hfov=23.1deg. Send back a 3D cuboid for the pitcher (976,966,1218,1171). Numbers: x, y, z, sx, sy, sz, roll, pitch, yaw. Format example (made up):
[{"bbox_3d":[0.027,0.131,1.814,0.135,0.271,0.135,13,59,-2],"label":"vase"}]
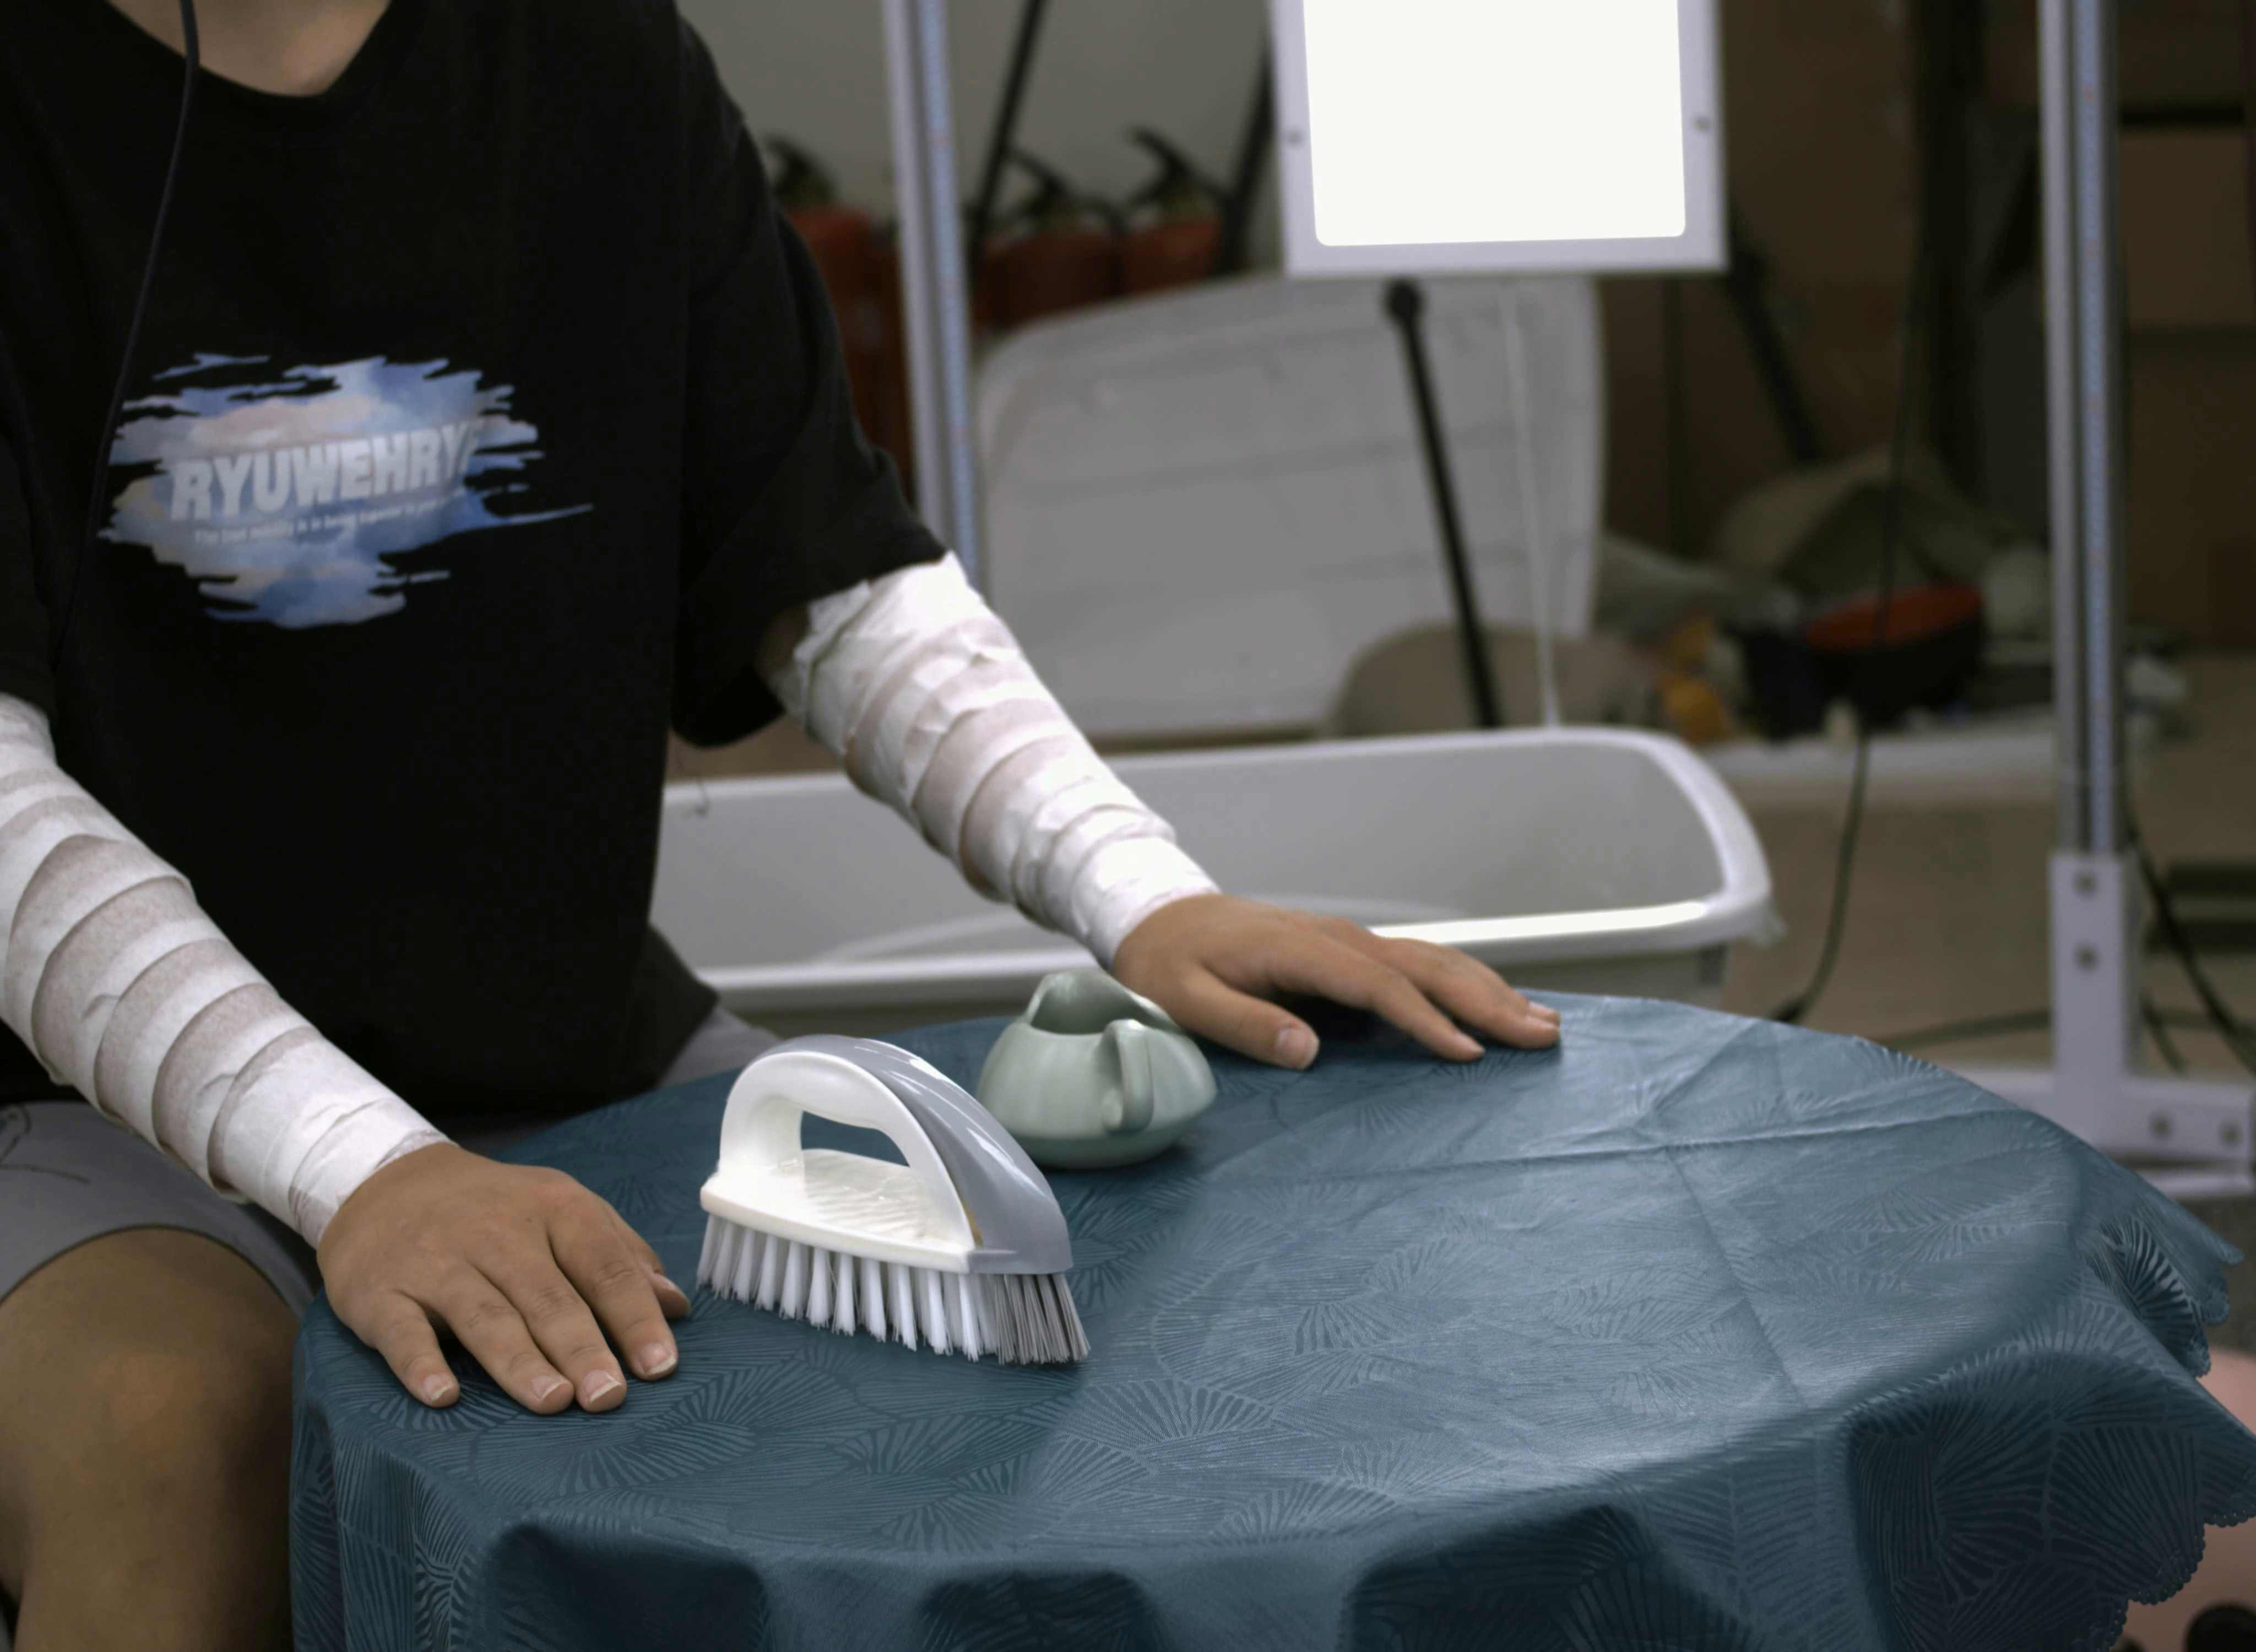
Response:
[{"bbox_3d":[-0.008,0.089,1.935,0.085,0.060,0.109,-9,17,-15],"label":"pitcher"}]

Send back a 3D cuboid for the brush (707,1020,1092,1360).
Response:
[{"bbox_3d":[-0.072,0.114,1.783,0.060,0.094,0.179,-18,21,-35],"label":"brush"}]
